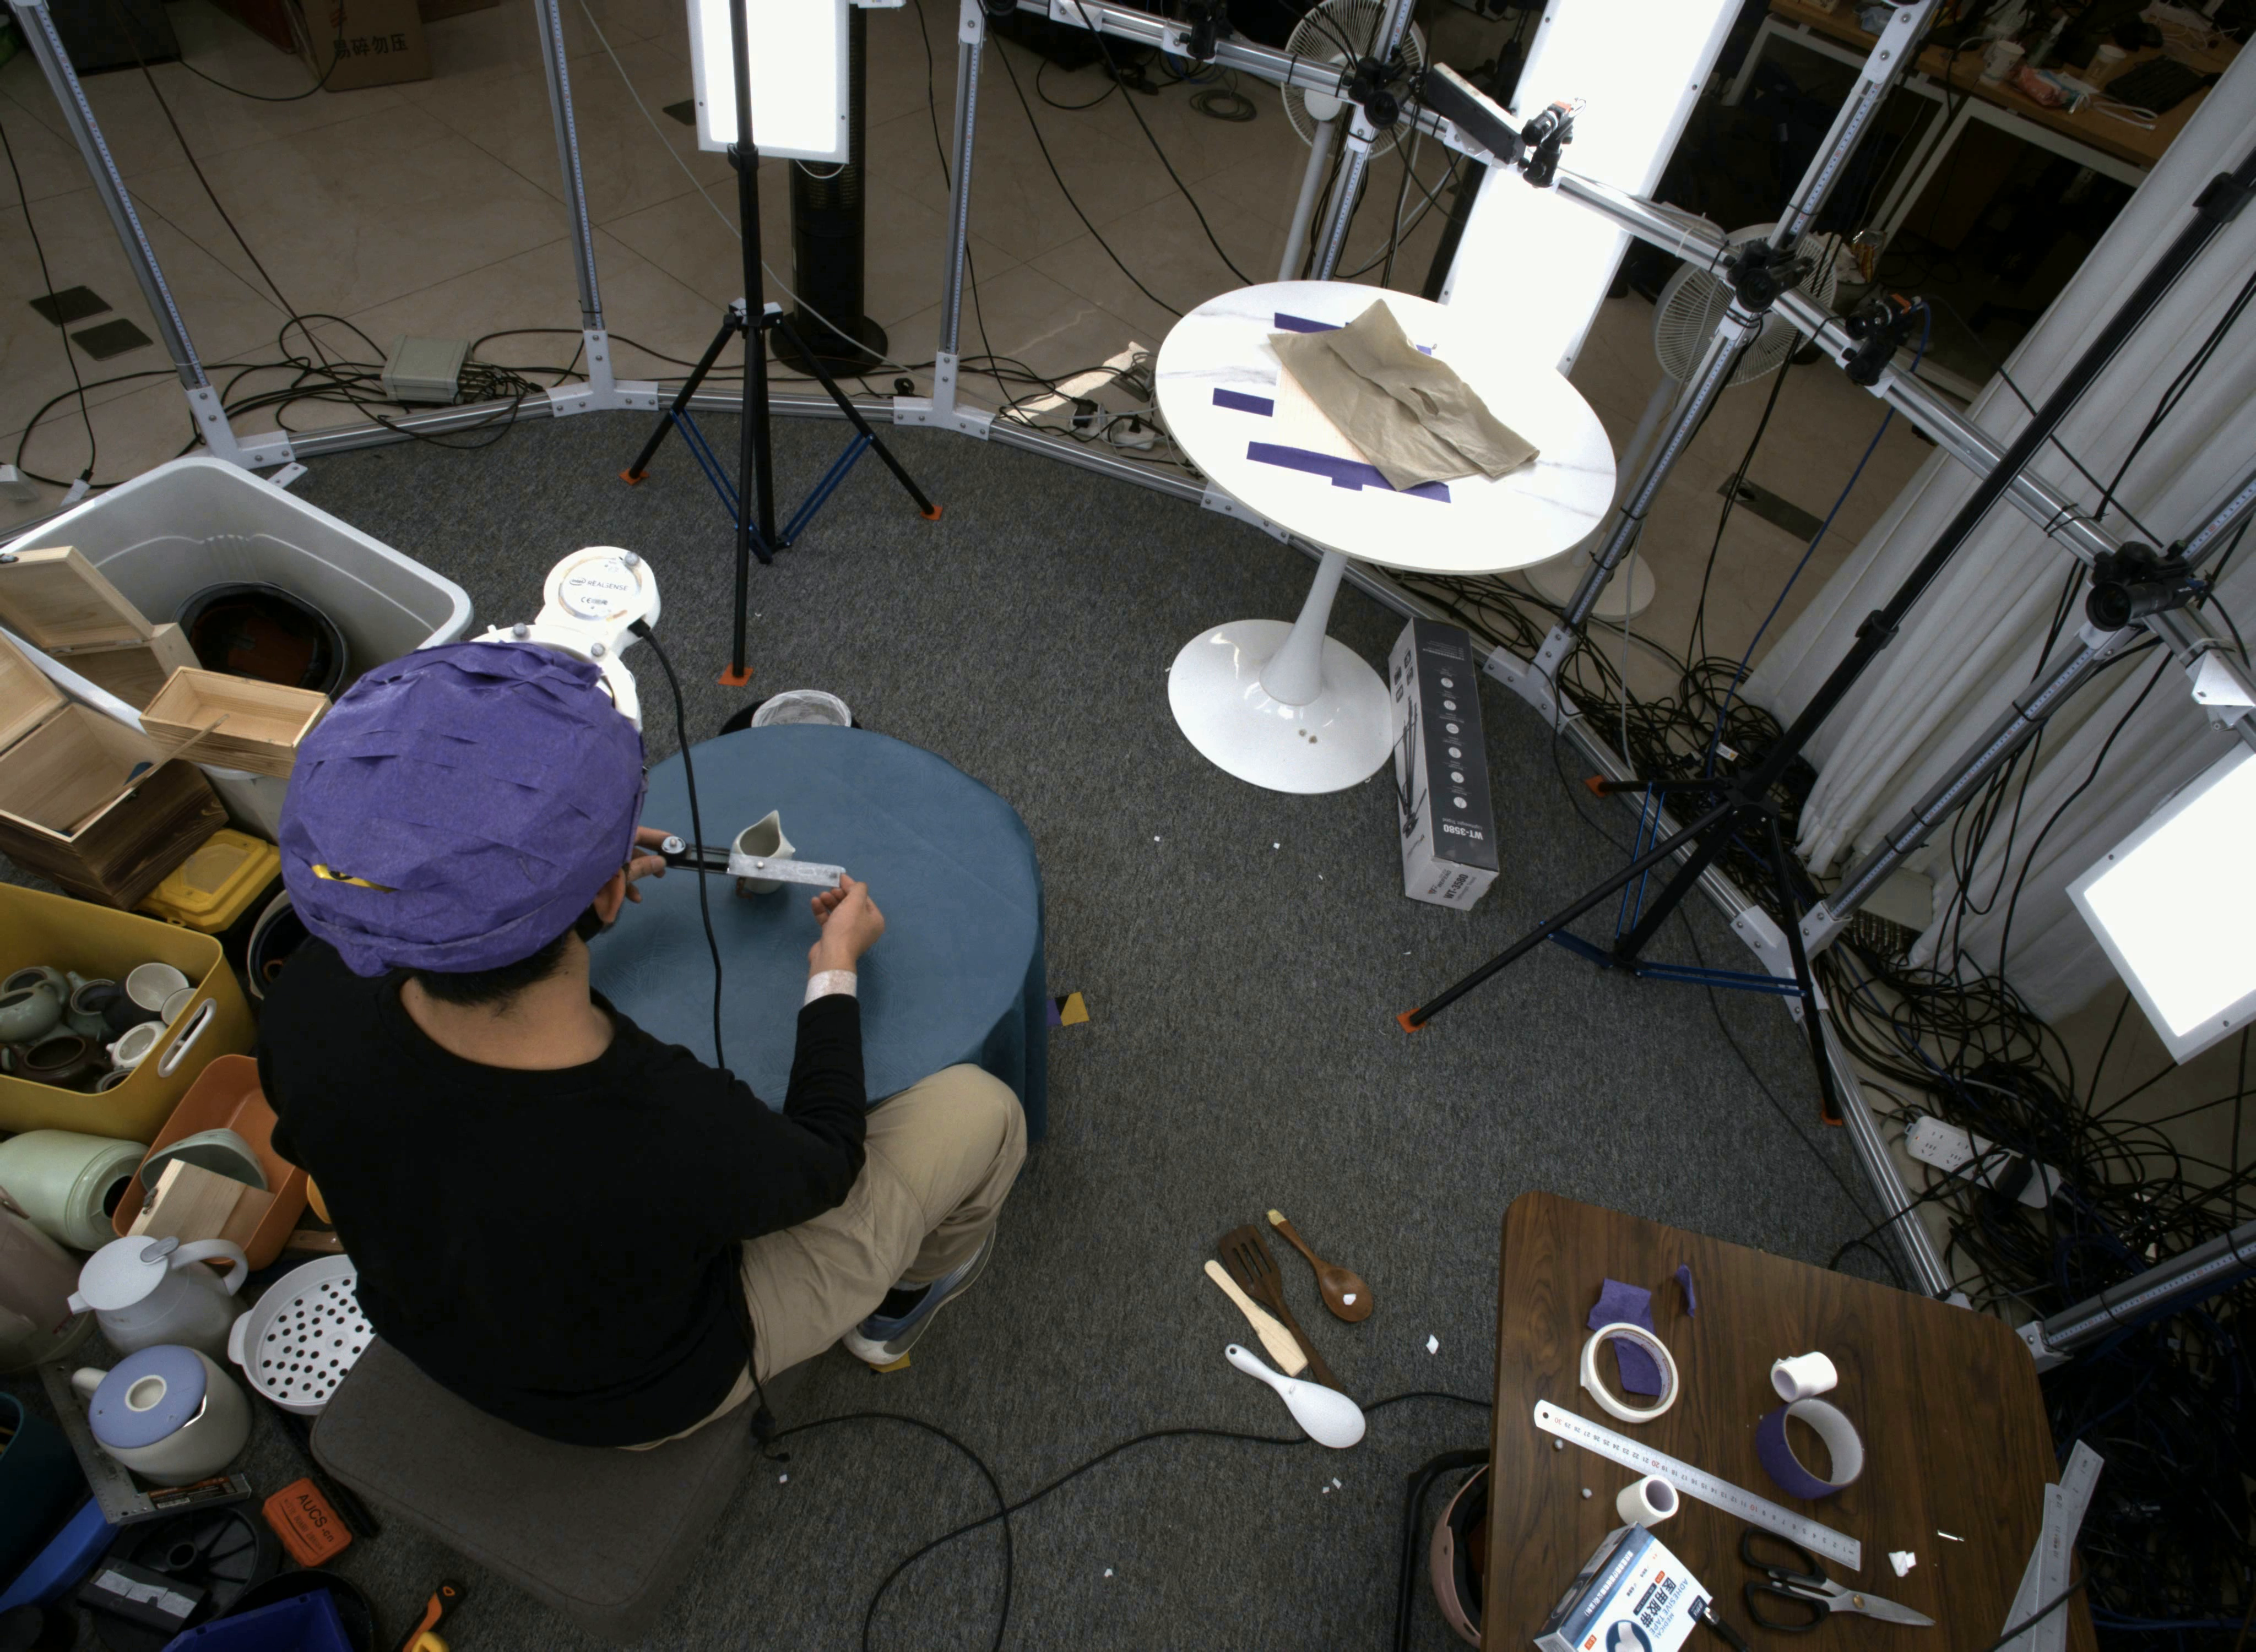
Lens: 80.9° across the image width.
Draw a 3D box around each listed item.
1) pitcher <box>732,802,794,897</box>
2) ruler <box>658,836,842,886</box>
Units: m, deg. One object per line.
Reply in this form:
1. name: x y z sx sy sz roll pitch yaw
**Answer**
1. pitcher: -0.460 0.041 1.623 0.075 0.090 0.118 18 50 6
2. ruler: -0.452 0.039 1.550 0.219 0.024 0.037 7 50 -18
